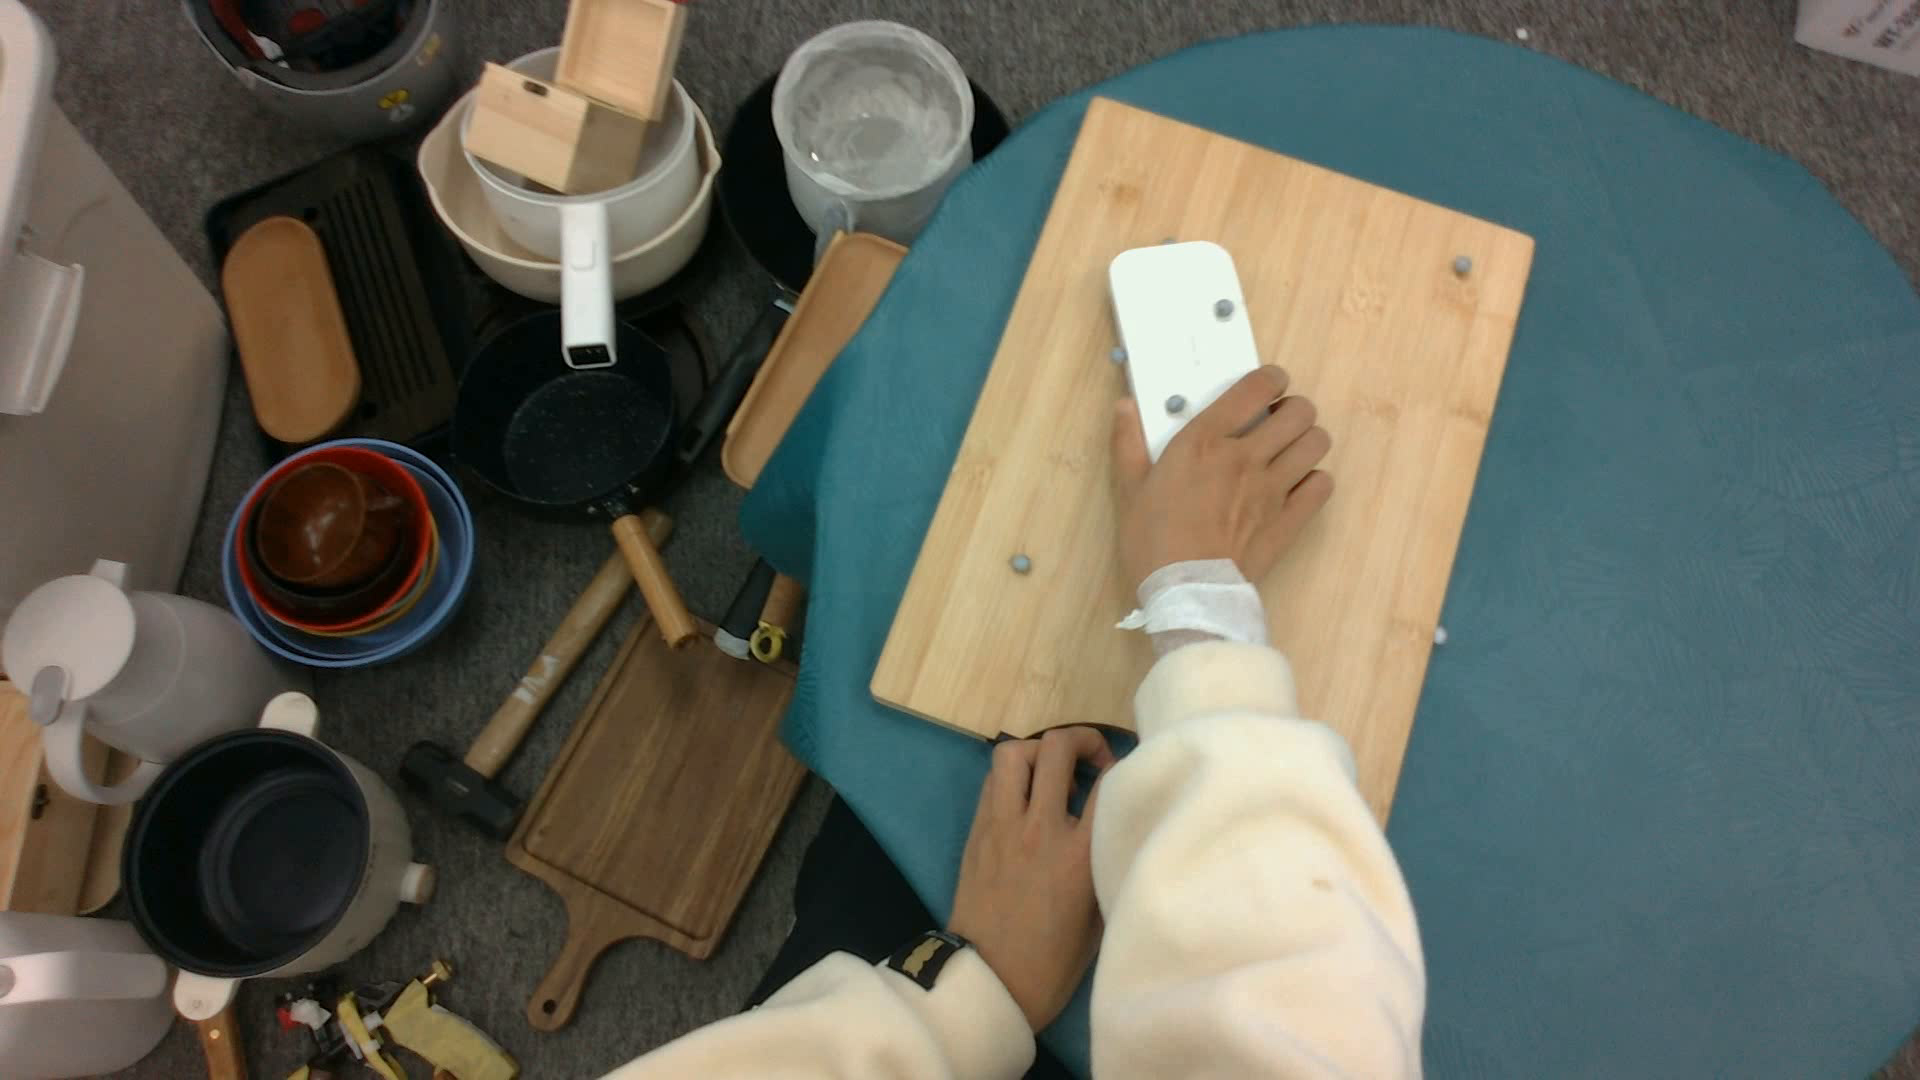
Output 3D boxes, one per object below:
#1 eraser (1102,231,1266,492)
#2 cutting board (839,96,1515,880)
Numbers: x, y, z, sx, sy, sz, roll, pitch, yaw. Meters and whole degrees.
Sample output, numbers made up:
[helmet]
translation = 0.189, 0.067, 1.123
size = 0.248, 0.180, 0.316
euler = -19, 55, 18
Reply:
[eraser]
translation = 0.105, -0.088, 0.668
size = 0.063, 0.034, 0.131
euler = -6, 72, -4
[cutting board]
translation = 0.117, -0.040, 0.680
size = 0.250, 0.023, 0.349
euler = 19, 72, 4
